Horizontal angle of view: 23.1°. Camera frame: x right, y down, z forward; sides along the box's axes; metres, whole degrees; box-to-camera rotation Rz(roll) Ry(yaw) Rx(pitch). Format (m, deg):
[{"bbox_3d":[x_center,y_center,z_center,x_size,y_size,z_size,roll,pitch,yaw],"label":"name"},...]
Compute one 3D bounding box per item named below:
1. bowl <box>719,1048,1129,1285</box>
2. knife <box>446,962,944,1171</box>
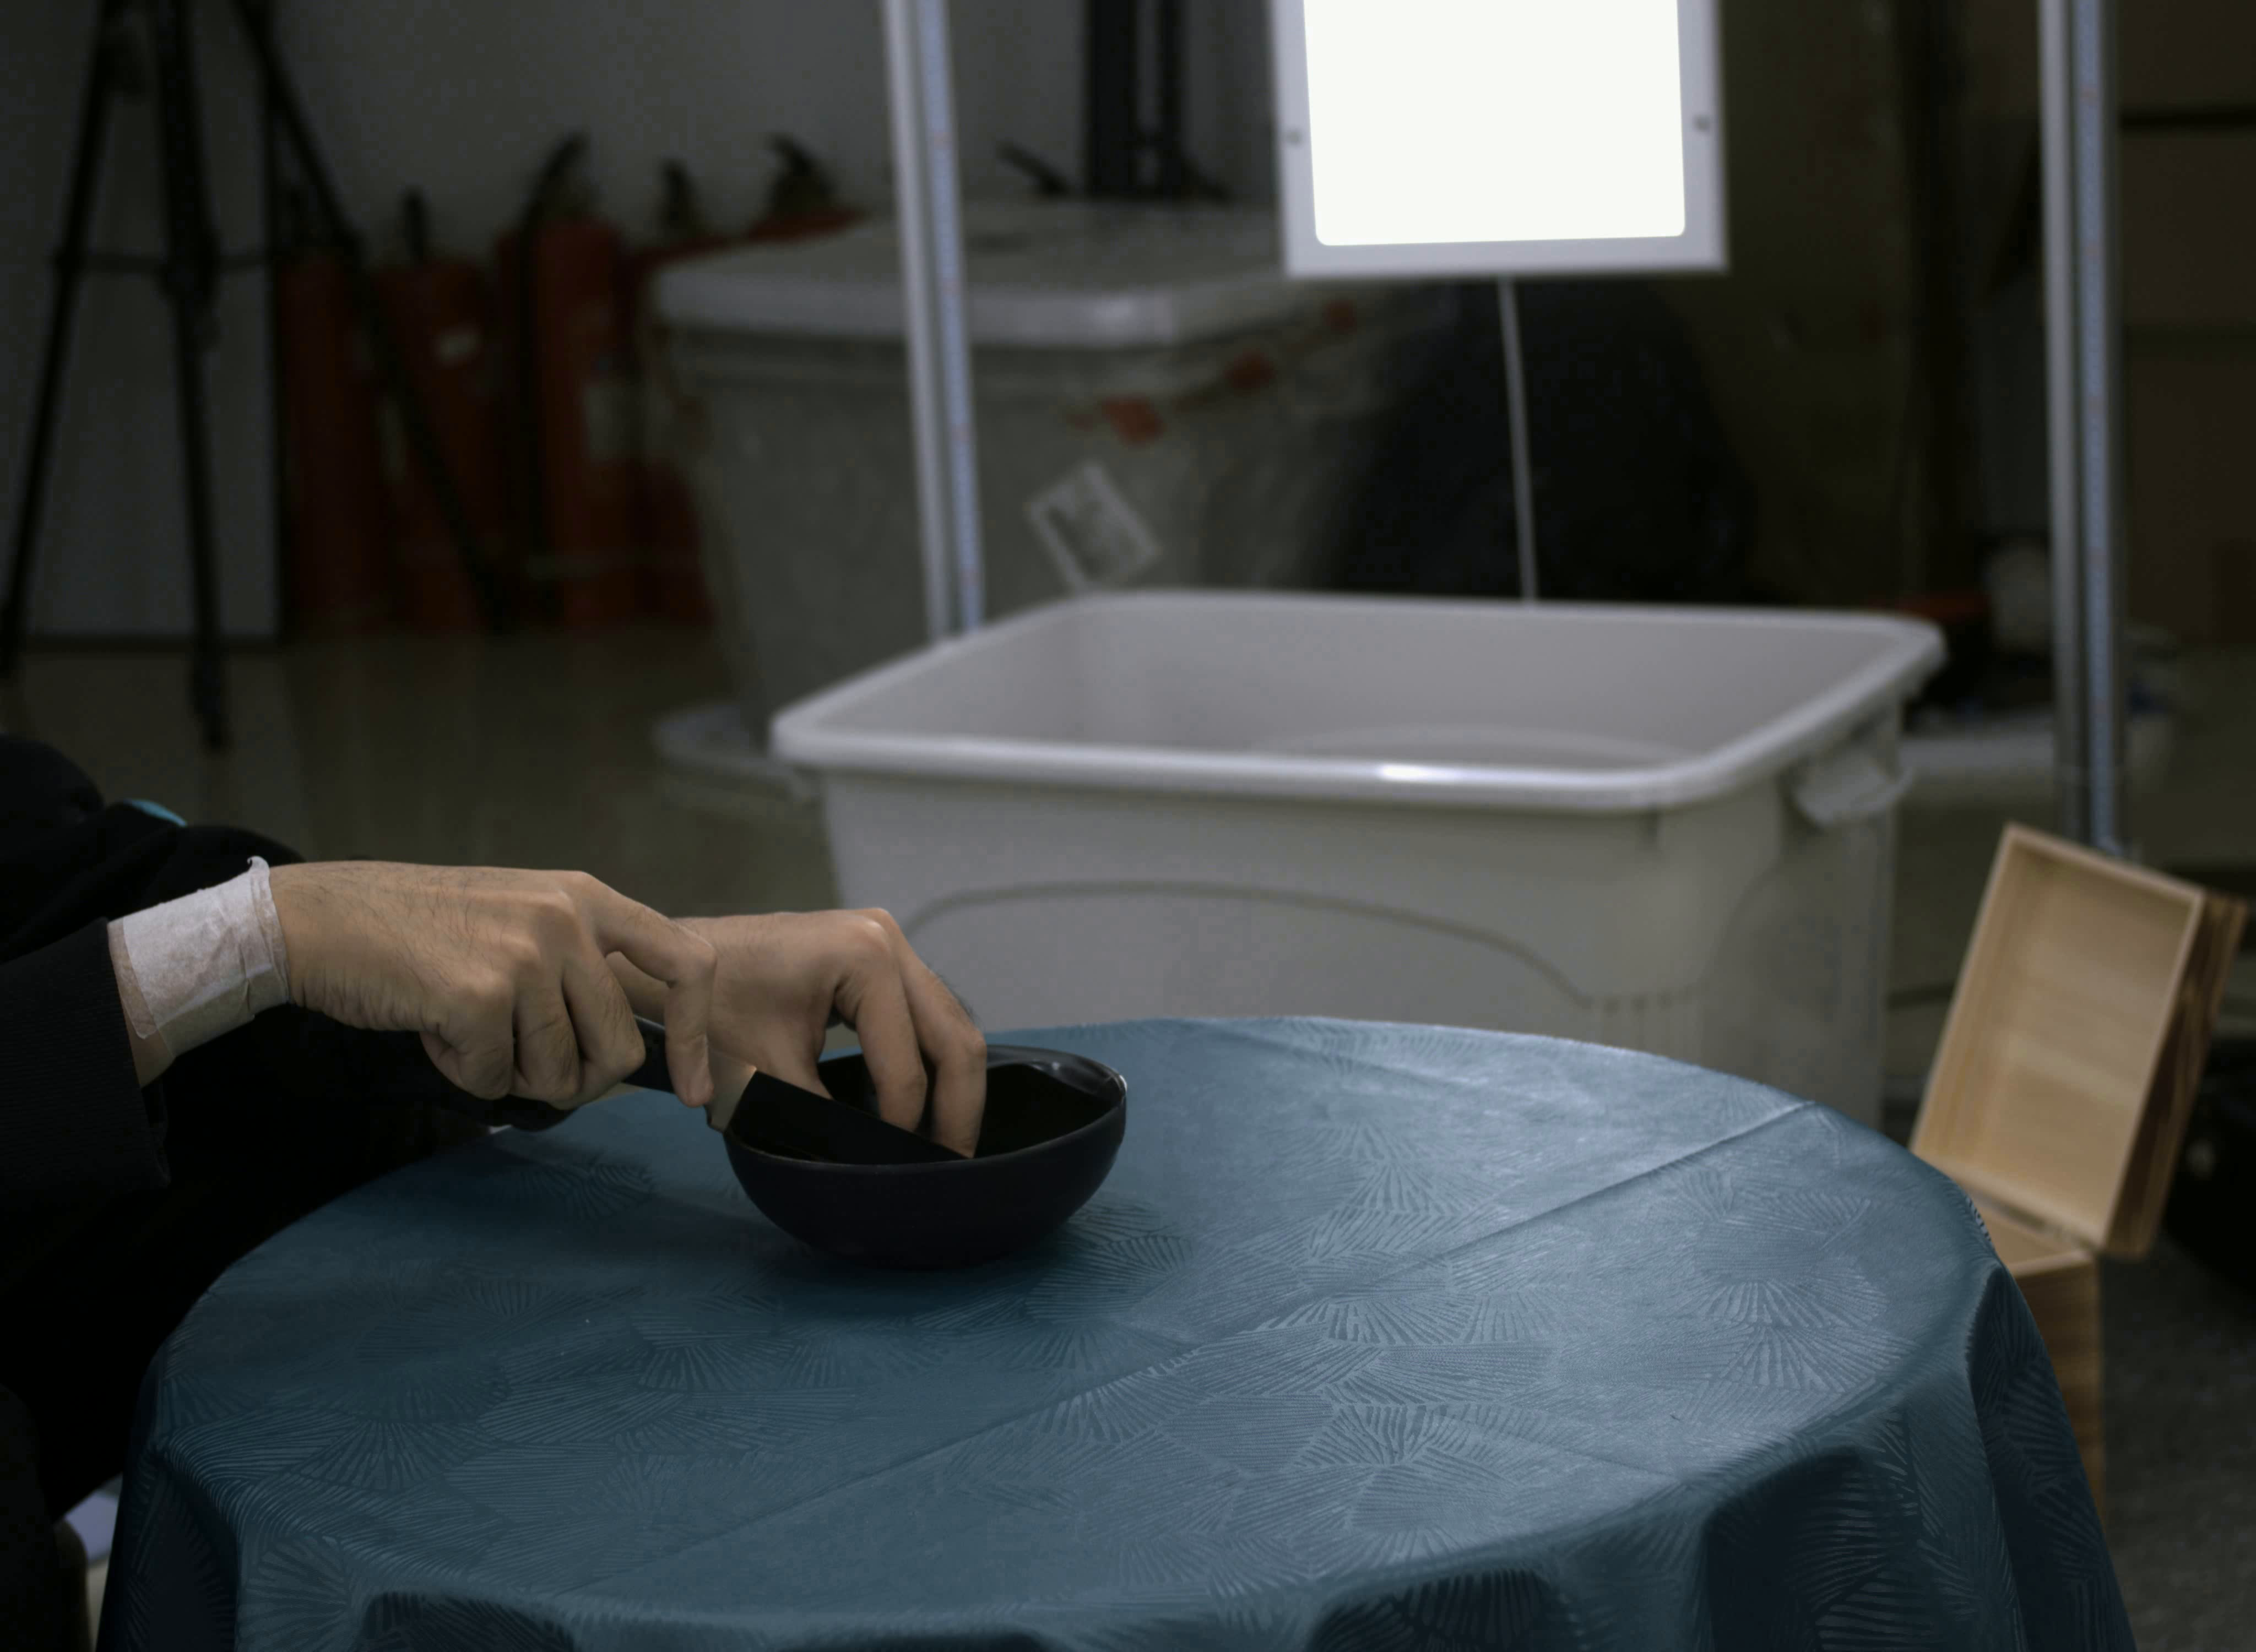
[{"bbox_3d":[-0.066,0.119,1.859,0.140,0.050,0.140,-9,14,1],"label":"bowl"},{"bbox_3d":[-0.126,0.092,1.834,0.222,0.026,0.017,23,15,-17],"label":"knife"}]
